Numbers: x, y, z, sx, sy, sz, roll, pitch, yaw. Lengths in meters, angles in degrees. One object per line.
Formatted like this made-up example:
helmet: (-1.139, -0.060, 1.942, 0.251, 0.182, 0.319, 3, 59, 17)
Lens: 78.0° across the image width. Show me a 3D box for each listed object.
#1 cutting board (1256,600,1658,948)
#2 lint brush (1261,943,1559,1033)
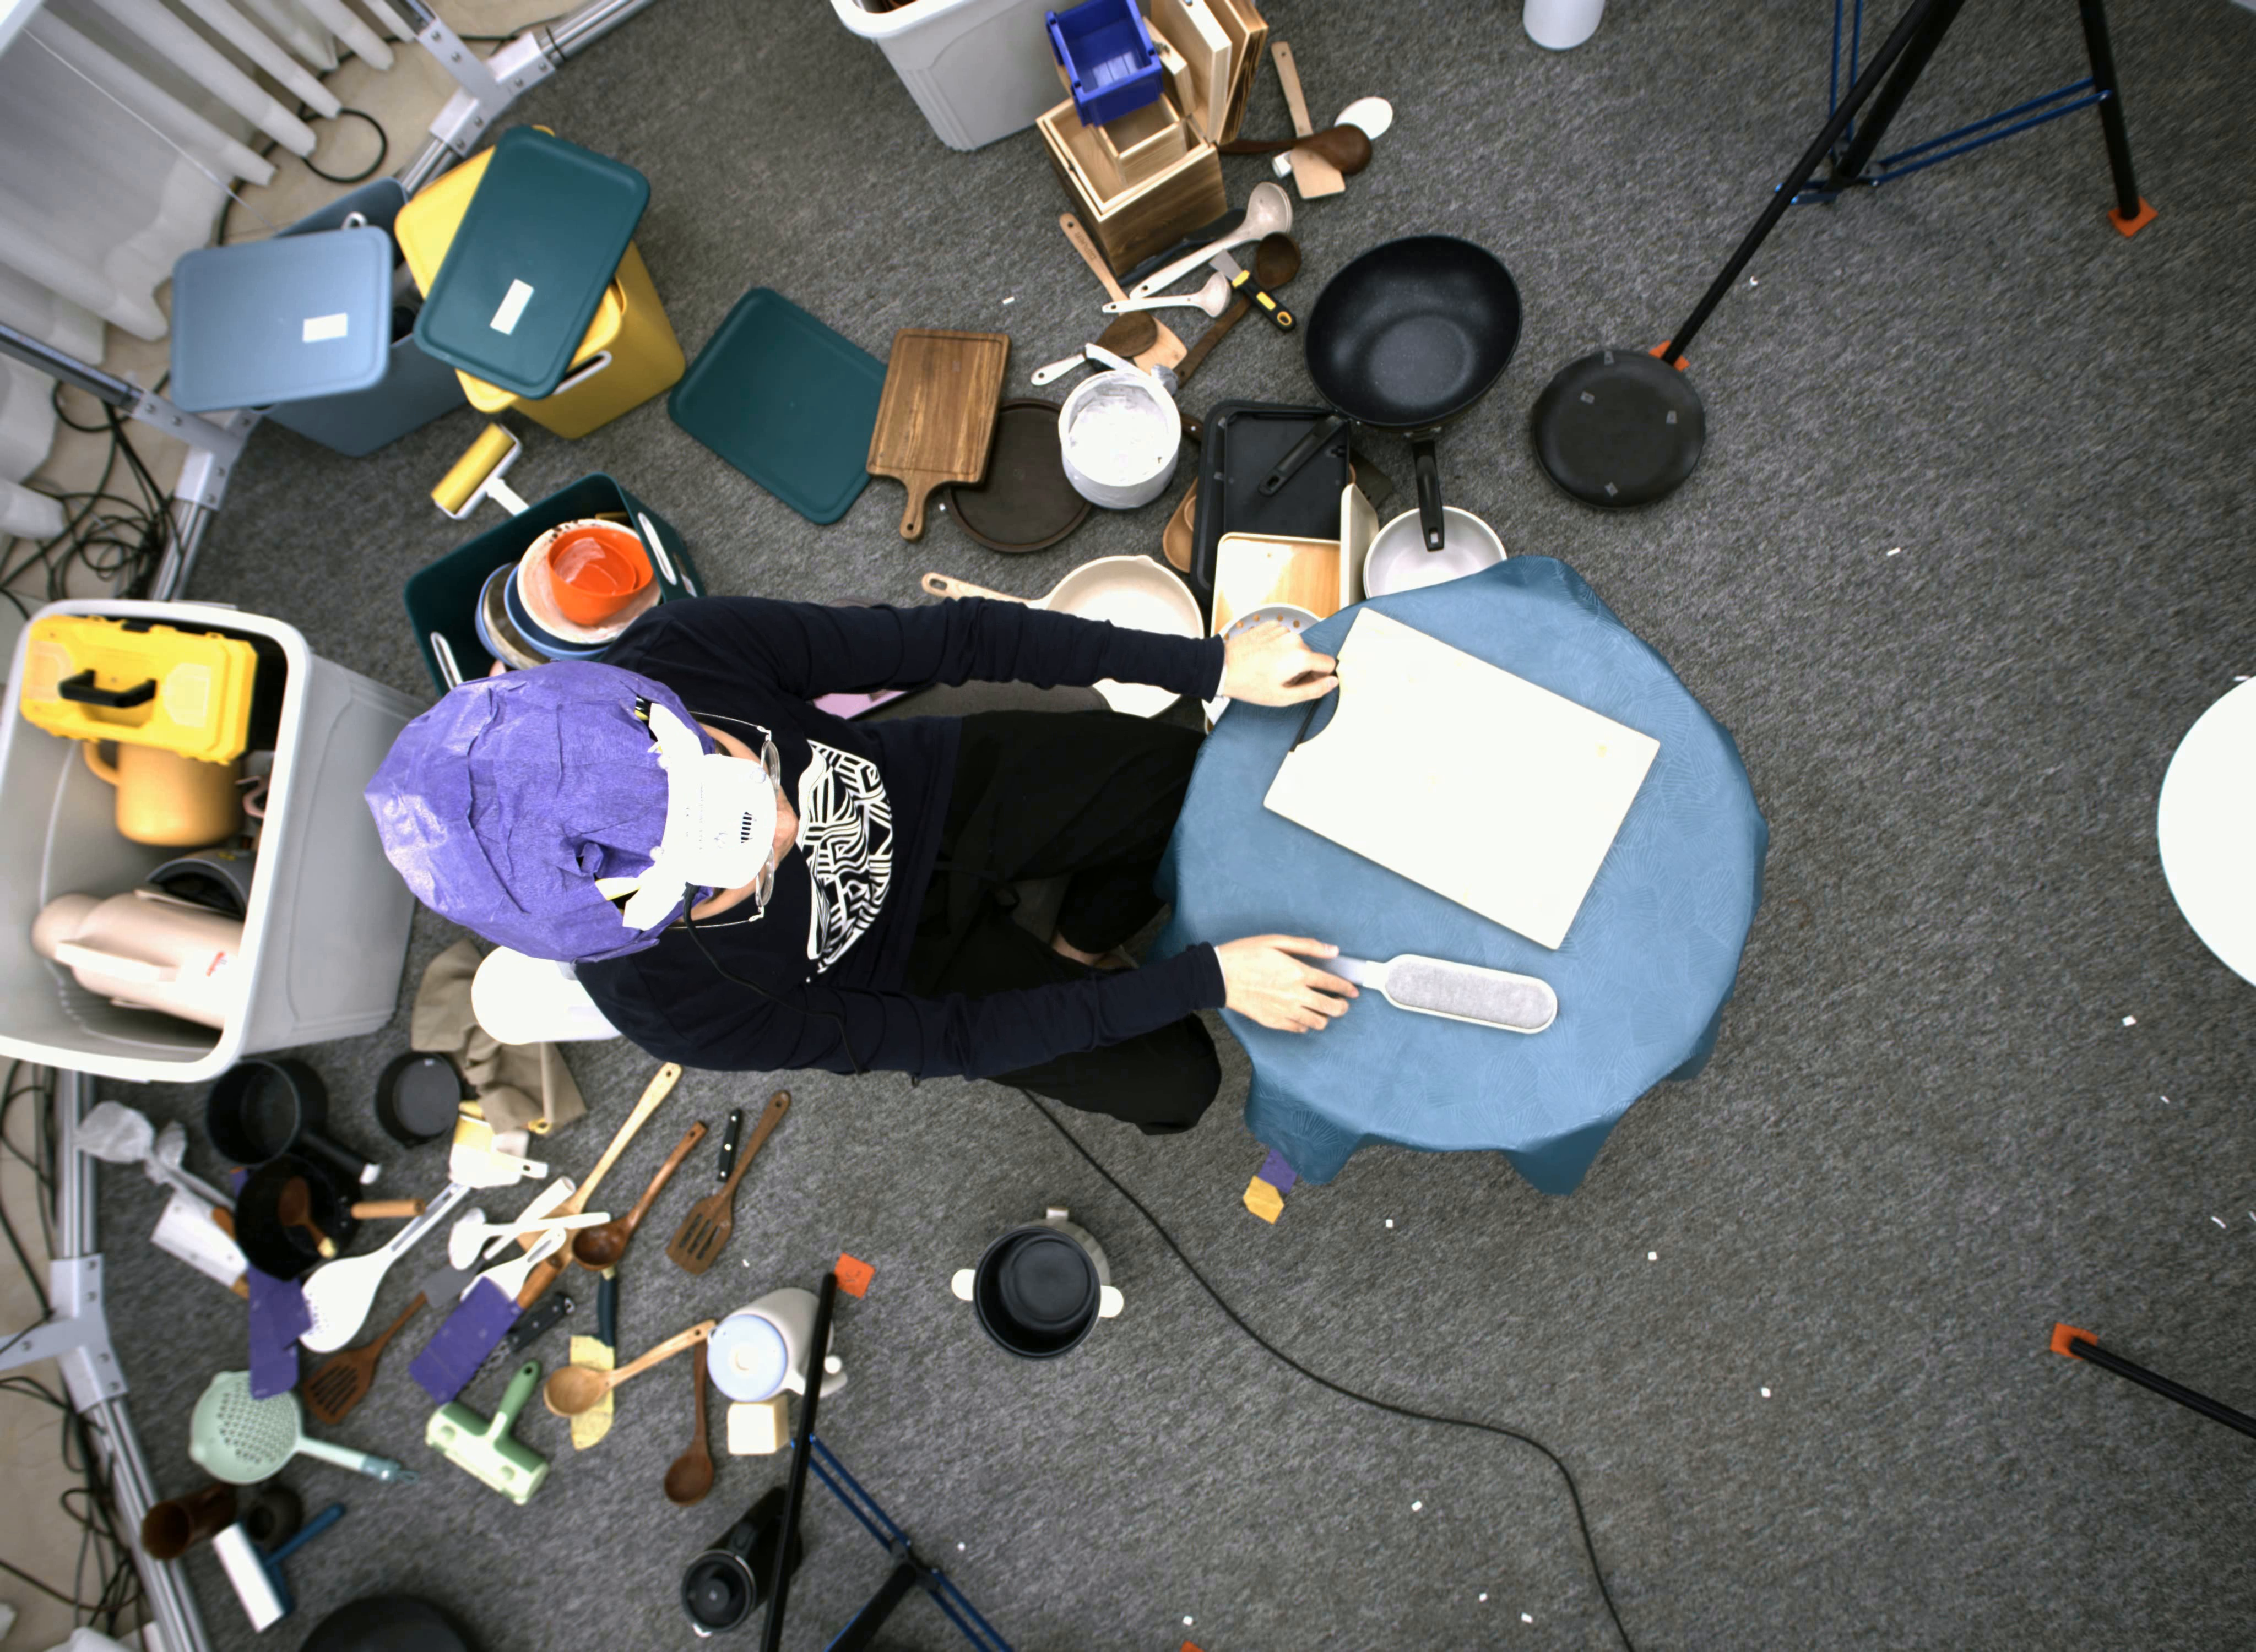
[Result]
cutting board: (0.342, -0.059, 1.446, 0.348, 0.023, 0.251, 26, 91, 11)
lint brush: (0.291, 0.159, 1.437, 0.309, 0.021, 0.060, 10, 94, 11)
